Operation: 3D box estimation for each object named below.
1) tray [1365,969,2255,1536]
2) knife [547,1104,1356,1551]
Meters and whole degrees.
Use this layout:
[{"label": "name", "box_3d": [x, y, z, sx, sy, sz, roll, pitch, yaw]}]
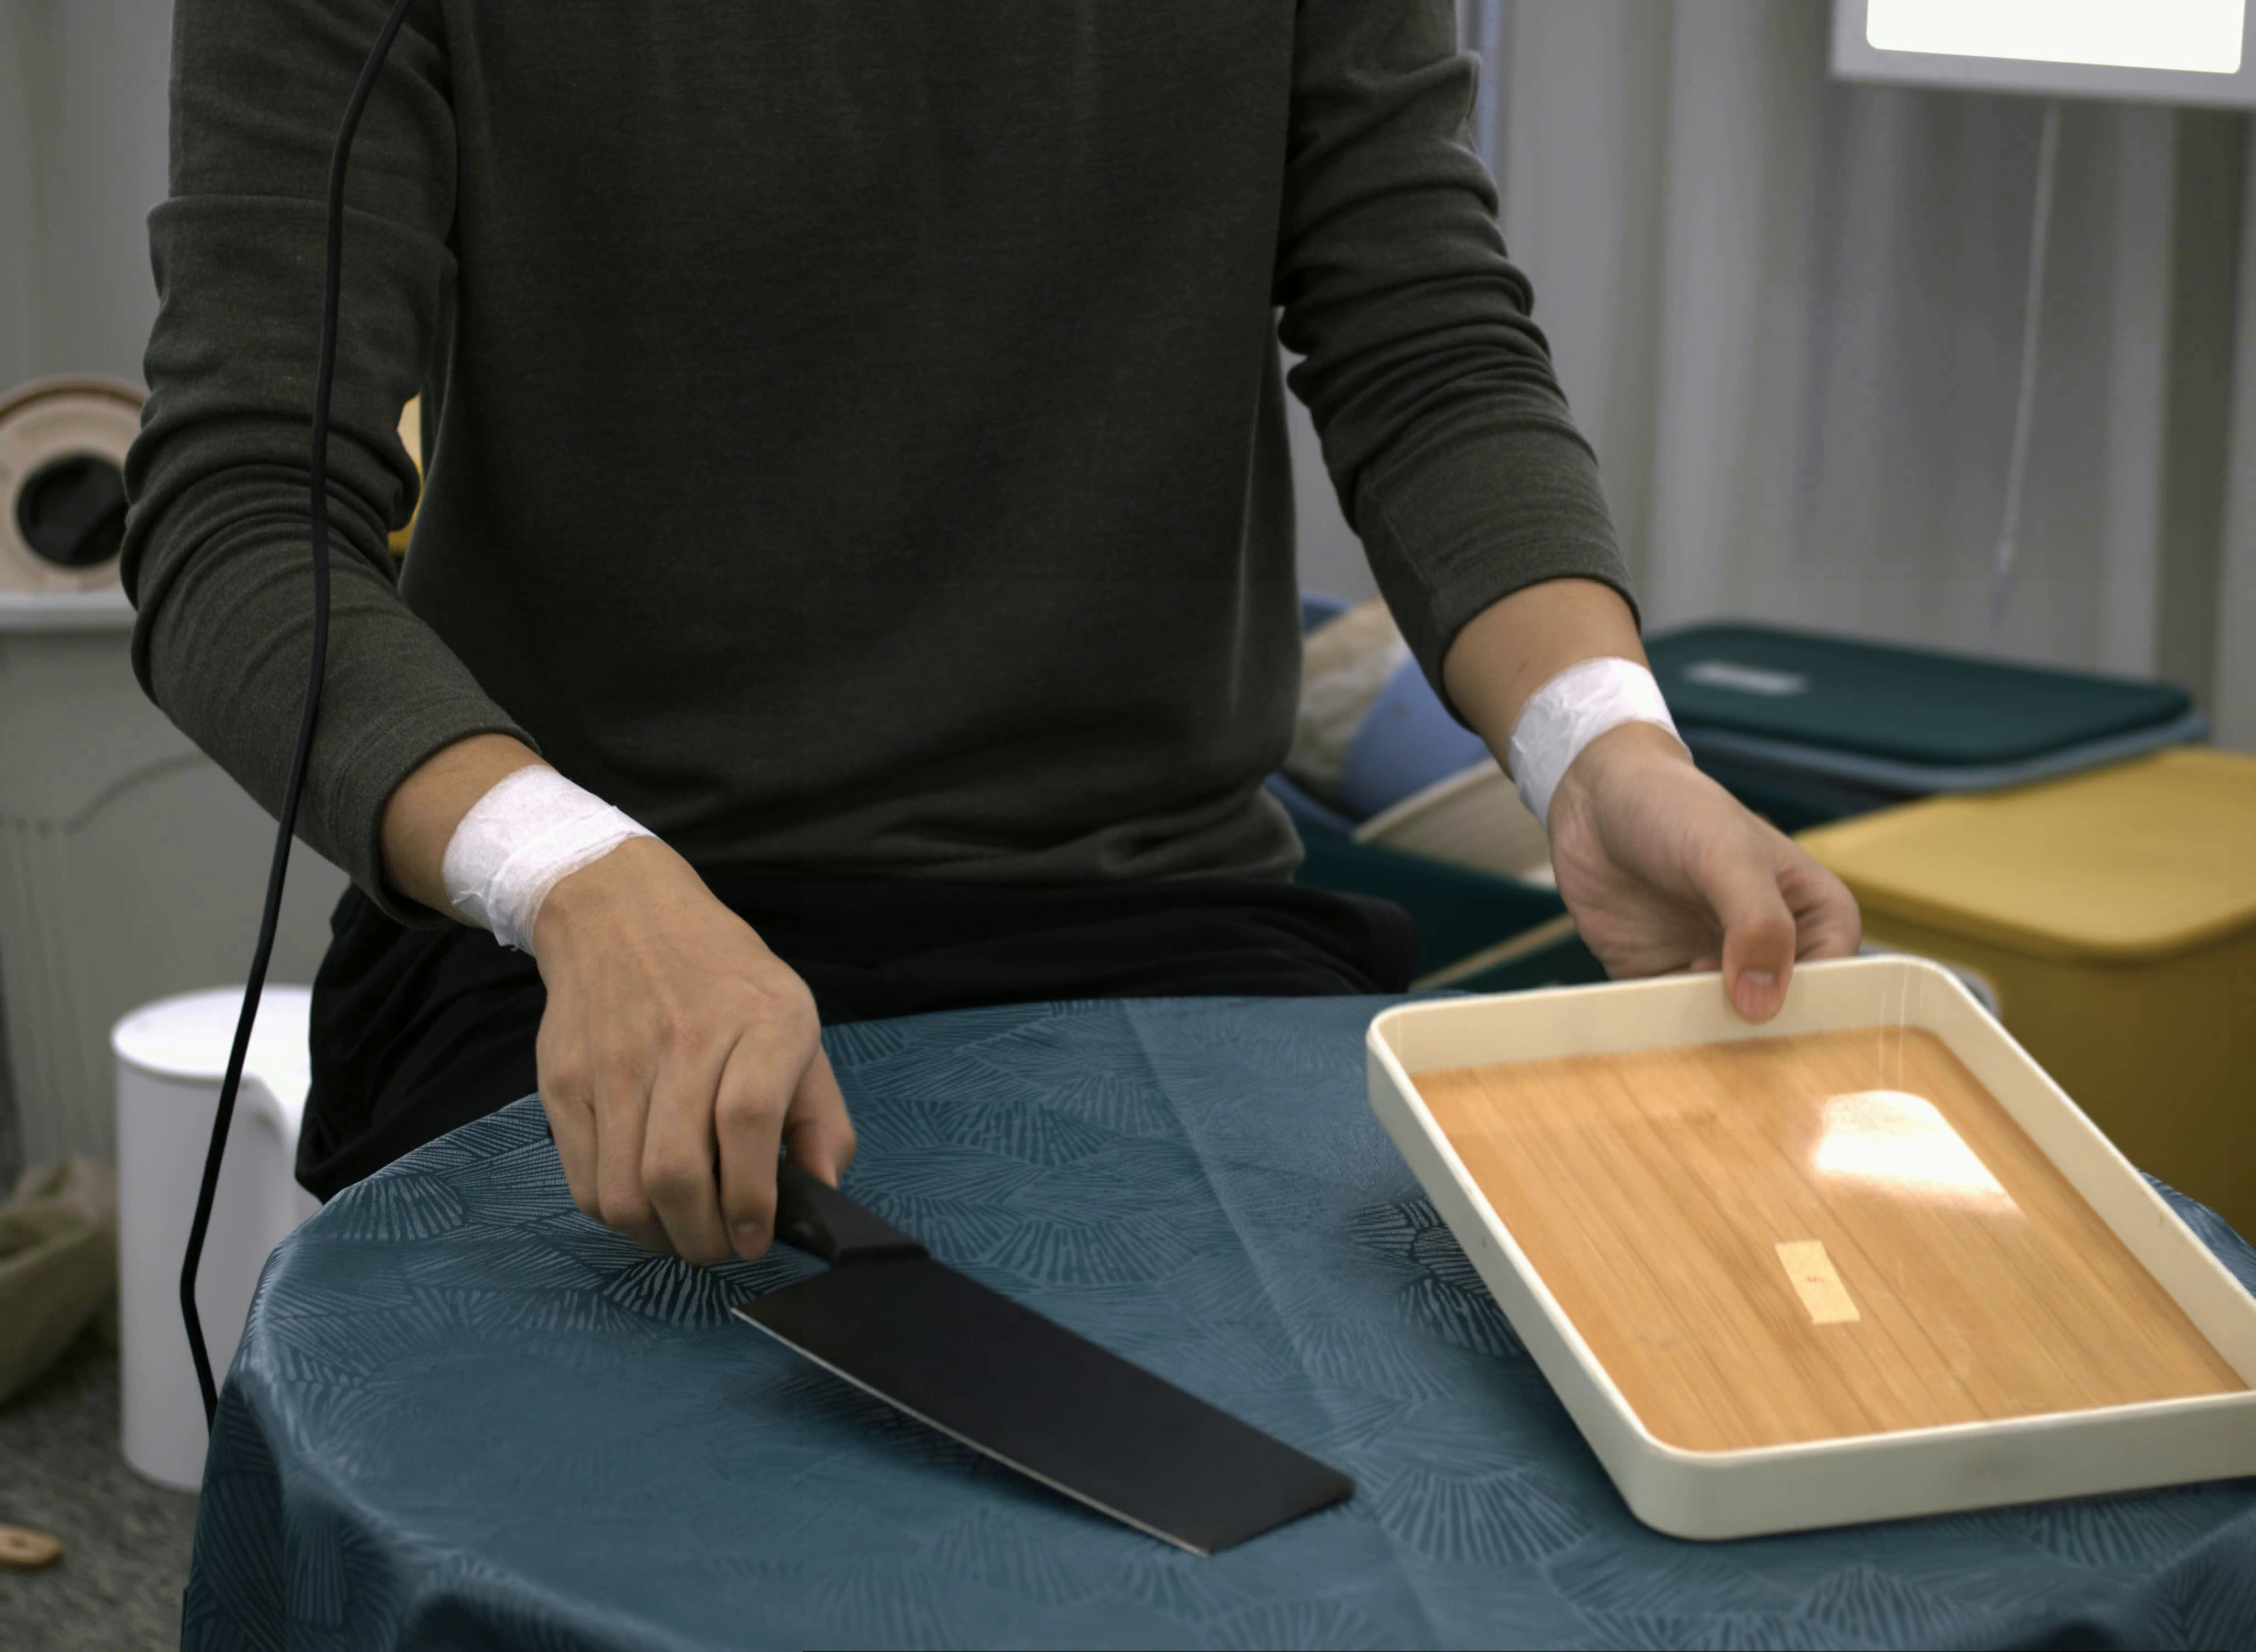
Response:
[{"label": "tray", "box_3d": [0.195, 0.115, 1.508, 0.192, 0.027, 0.297, -5, 22, -13]}, {"label": "knife", "box_3d": [-0.063, 0.137, 1.463, 0.081, 0.021, 0.298, -13, 27, -41]}]
